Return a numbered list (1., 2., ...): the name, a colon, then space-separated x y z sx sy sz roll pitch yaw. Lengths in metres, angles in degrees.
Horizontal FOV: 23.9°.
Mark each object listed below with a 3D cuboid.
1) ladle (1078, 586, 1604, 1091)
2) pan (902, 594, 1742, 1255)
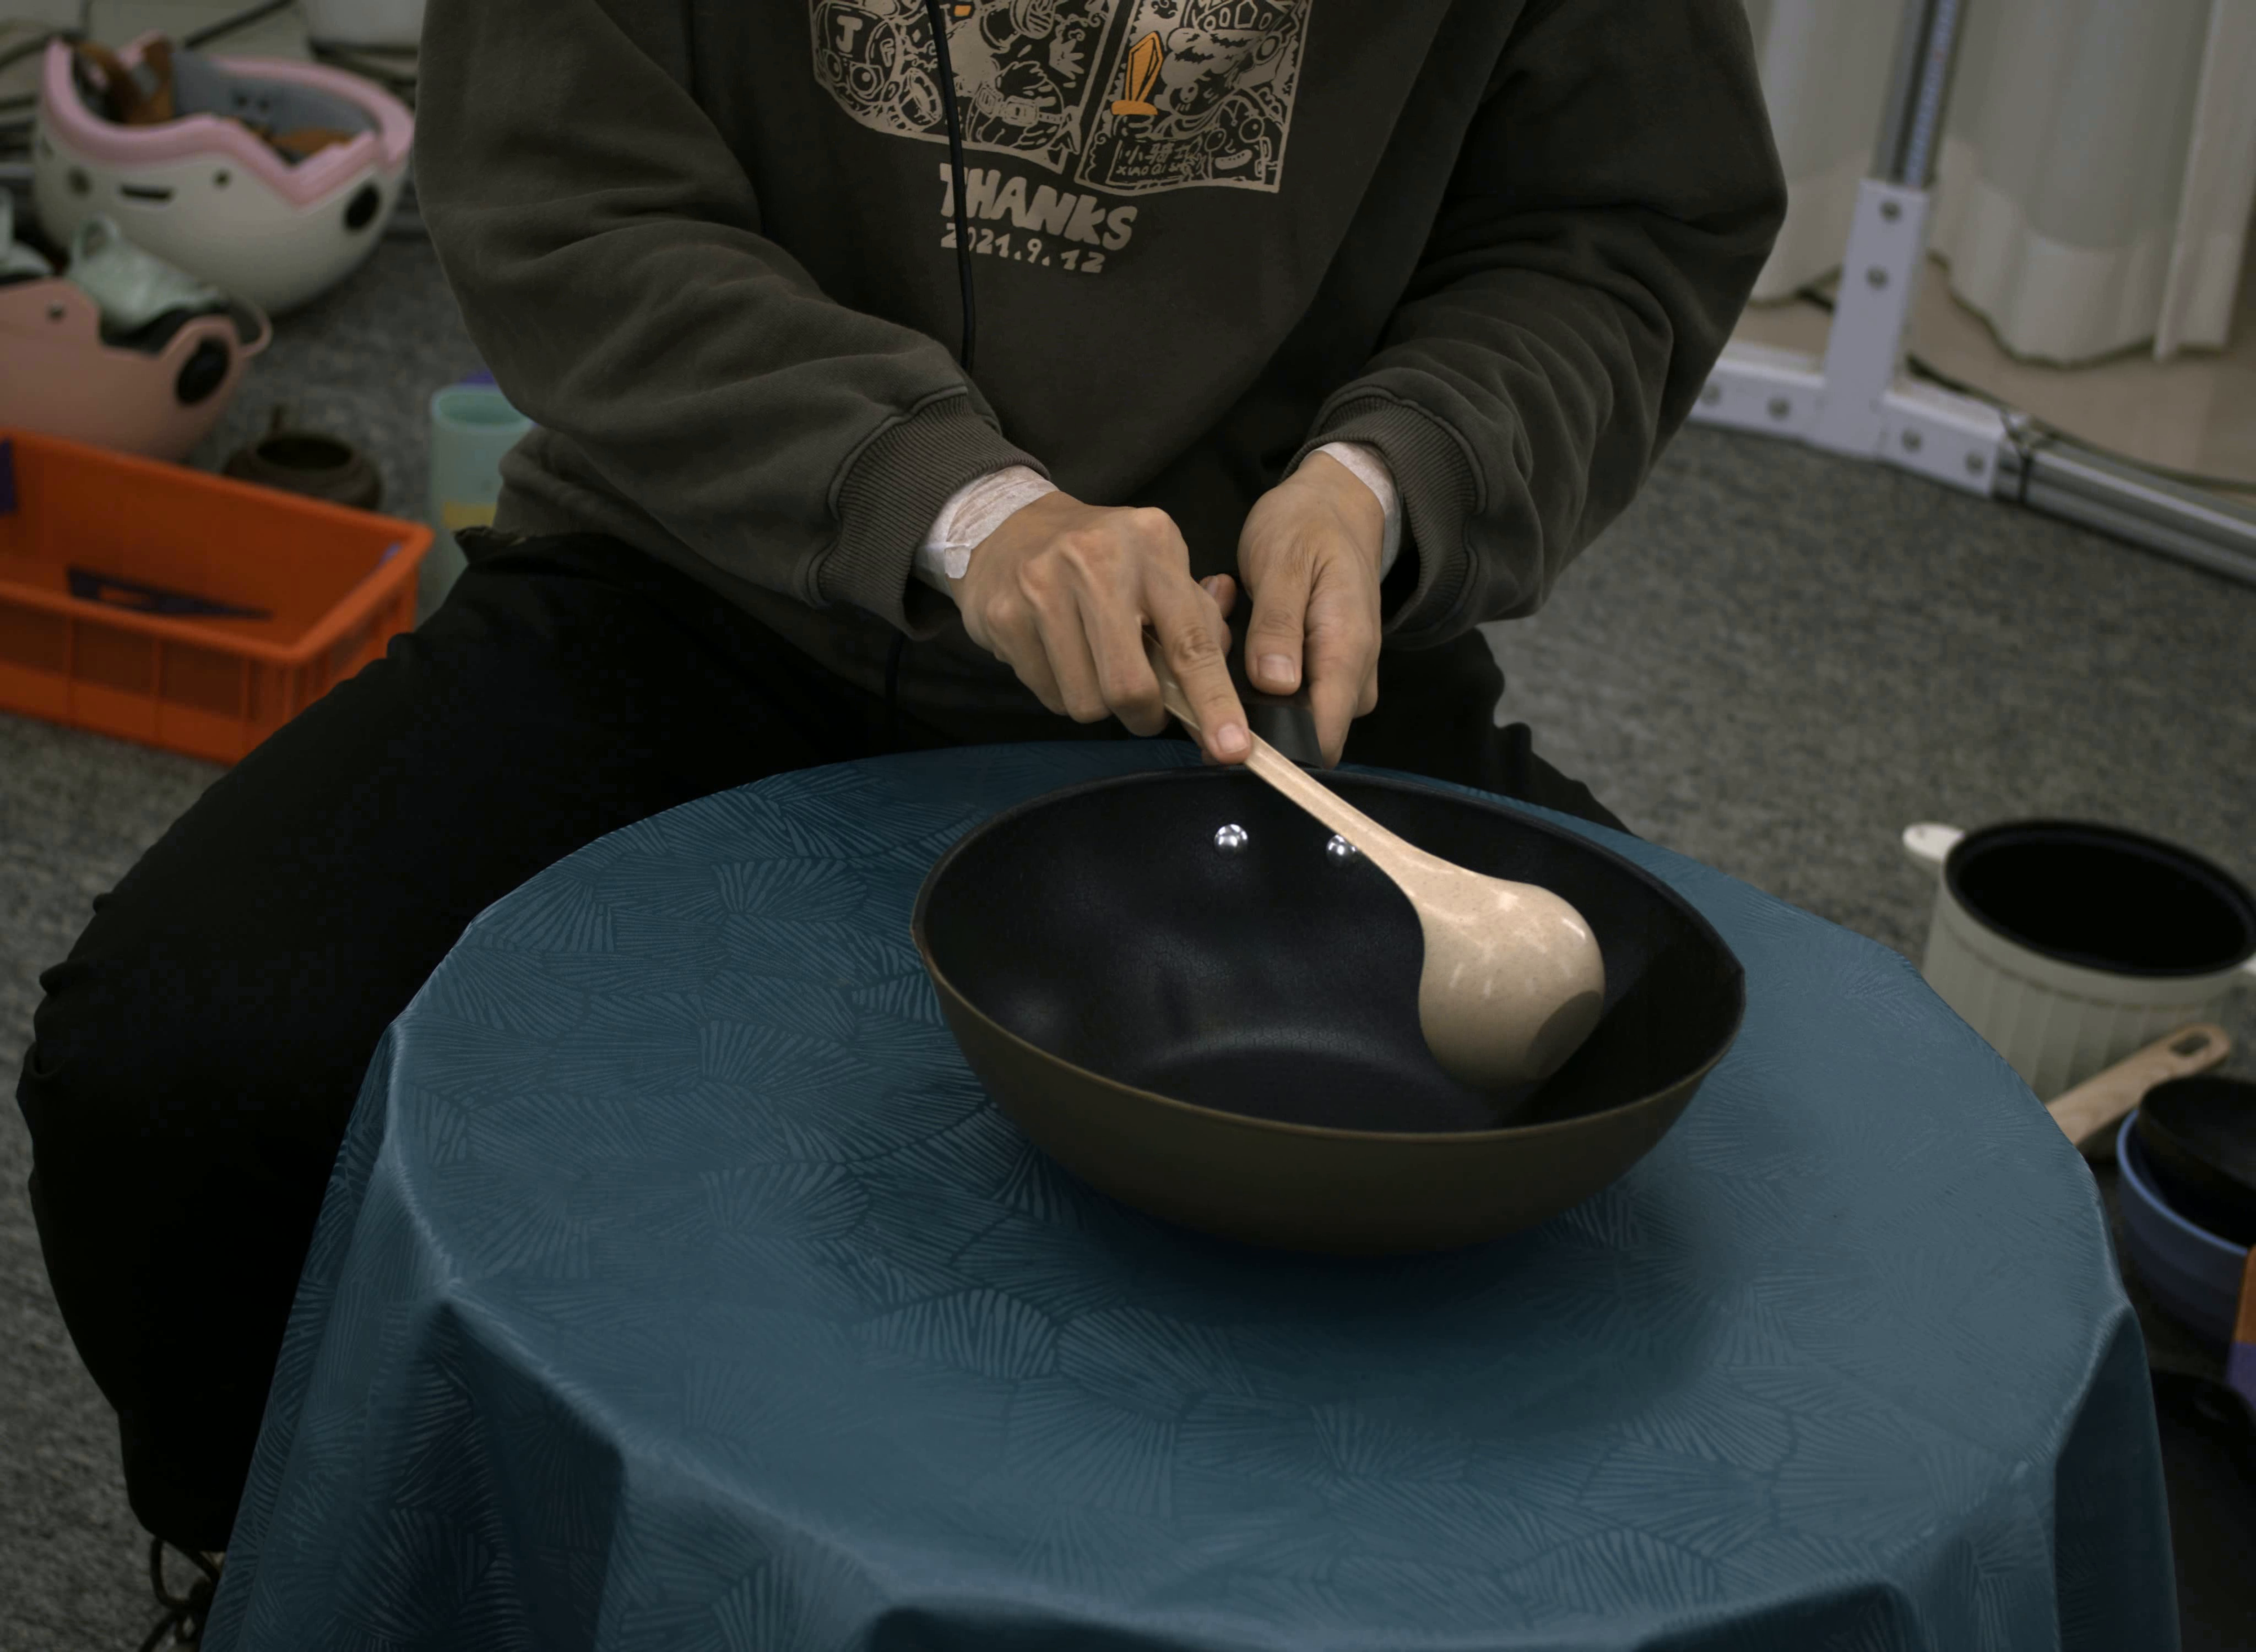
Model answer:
1. ladle: 0.070 0.004 1.913 0.072 0.072 0.256 -38 54 -15
2. pan: 0.057 0.036 1.903 0.287 0.086 0.466 4 24 -6
